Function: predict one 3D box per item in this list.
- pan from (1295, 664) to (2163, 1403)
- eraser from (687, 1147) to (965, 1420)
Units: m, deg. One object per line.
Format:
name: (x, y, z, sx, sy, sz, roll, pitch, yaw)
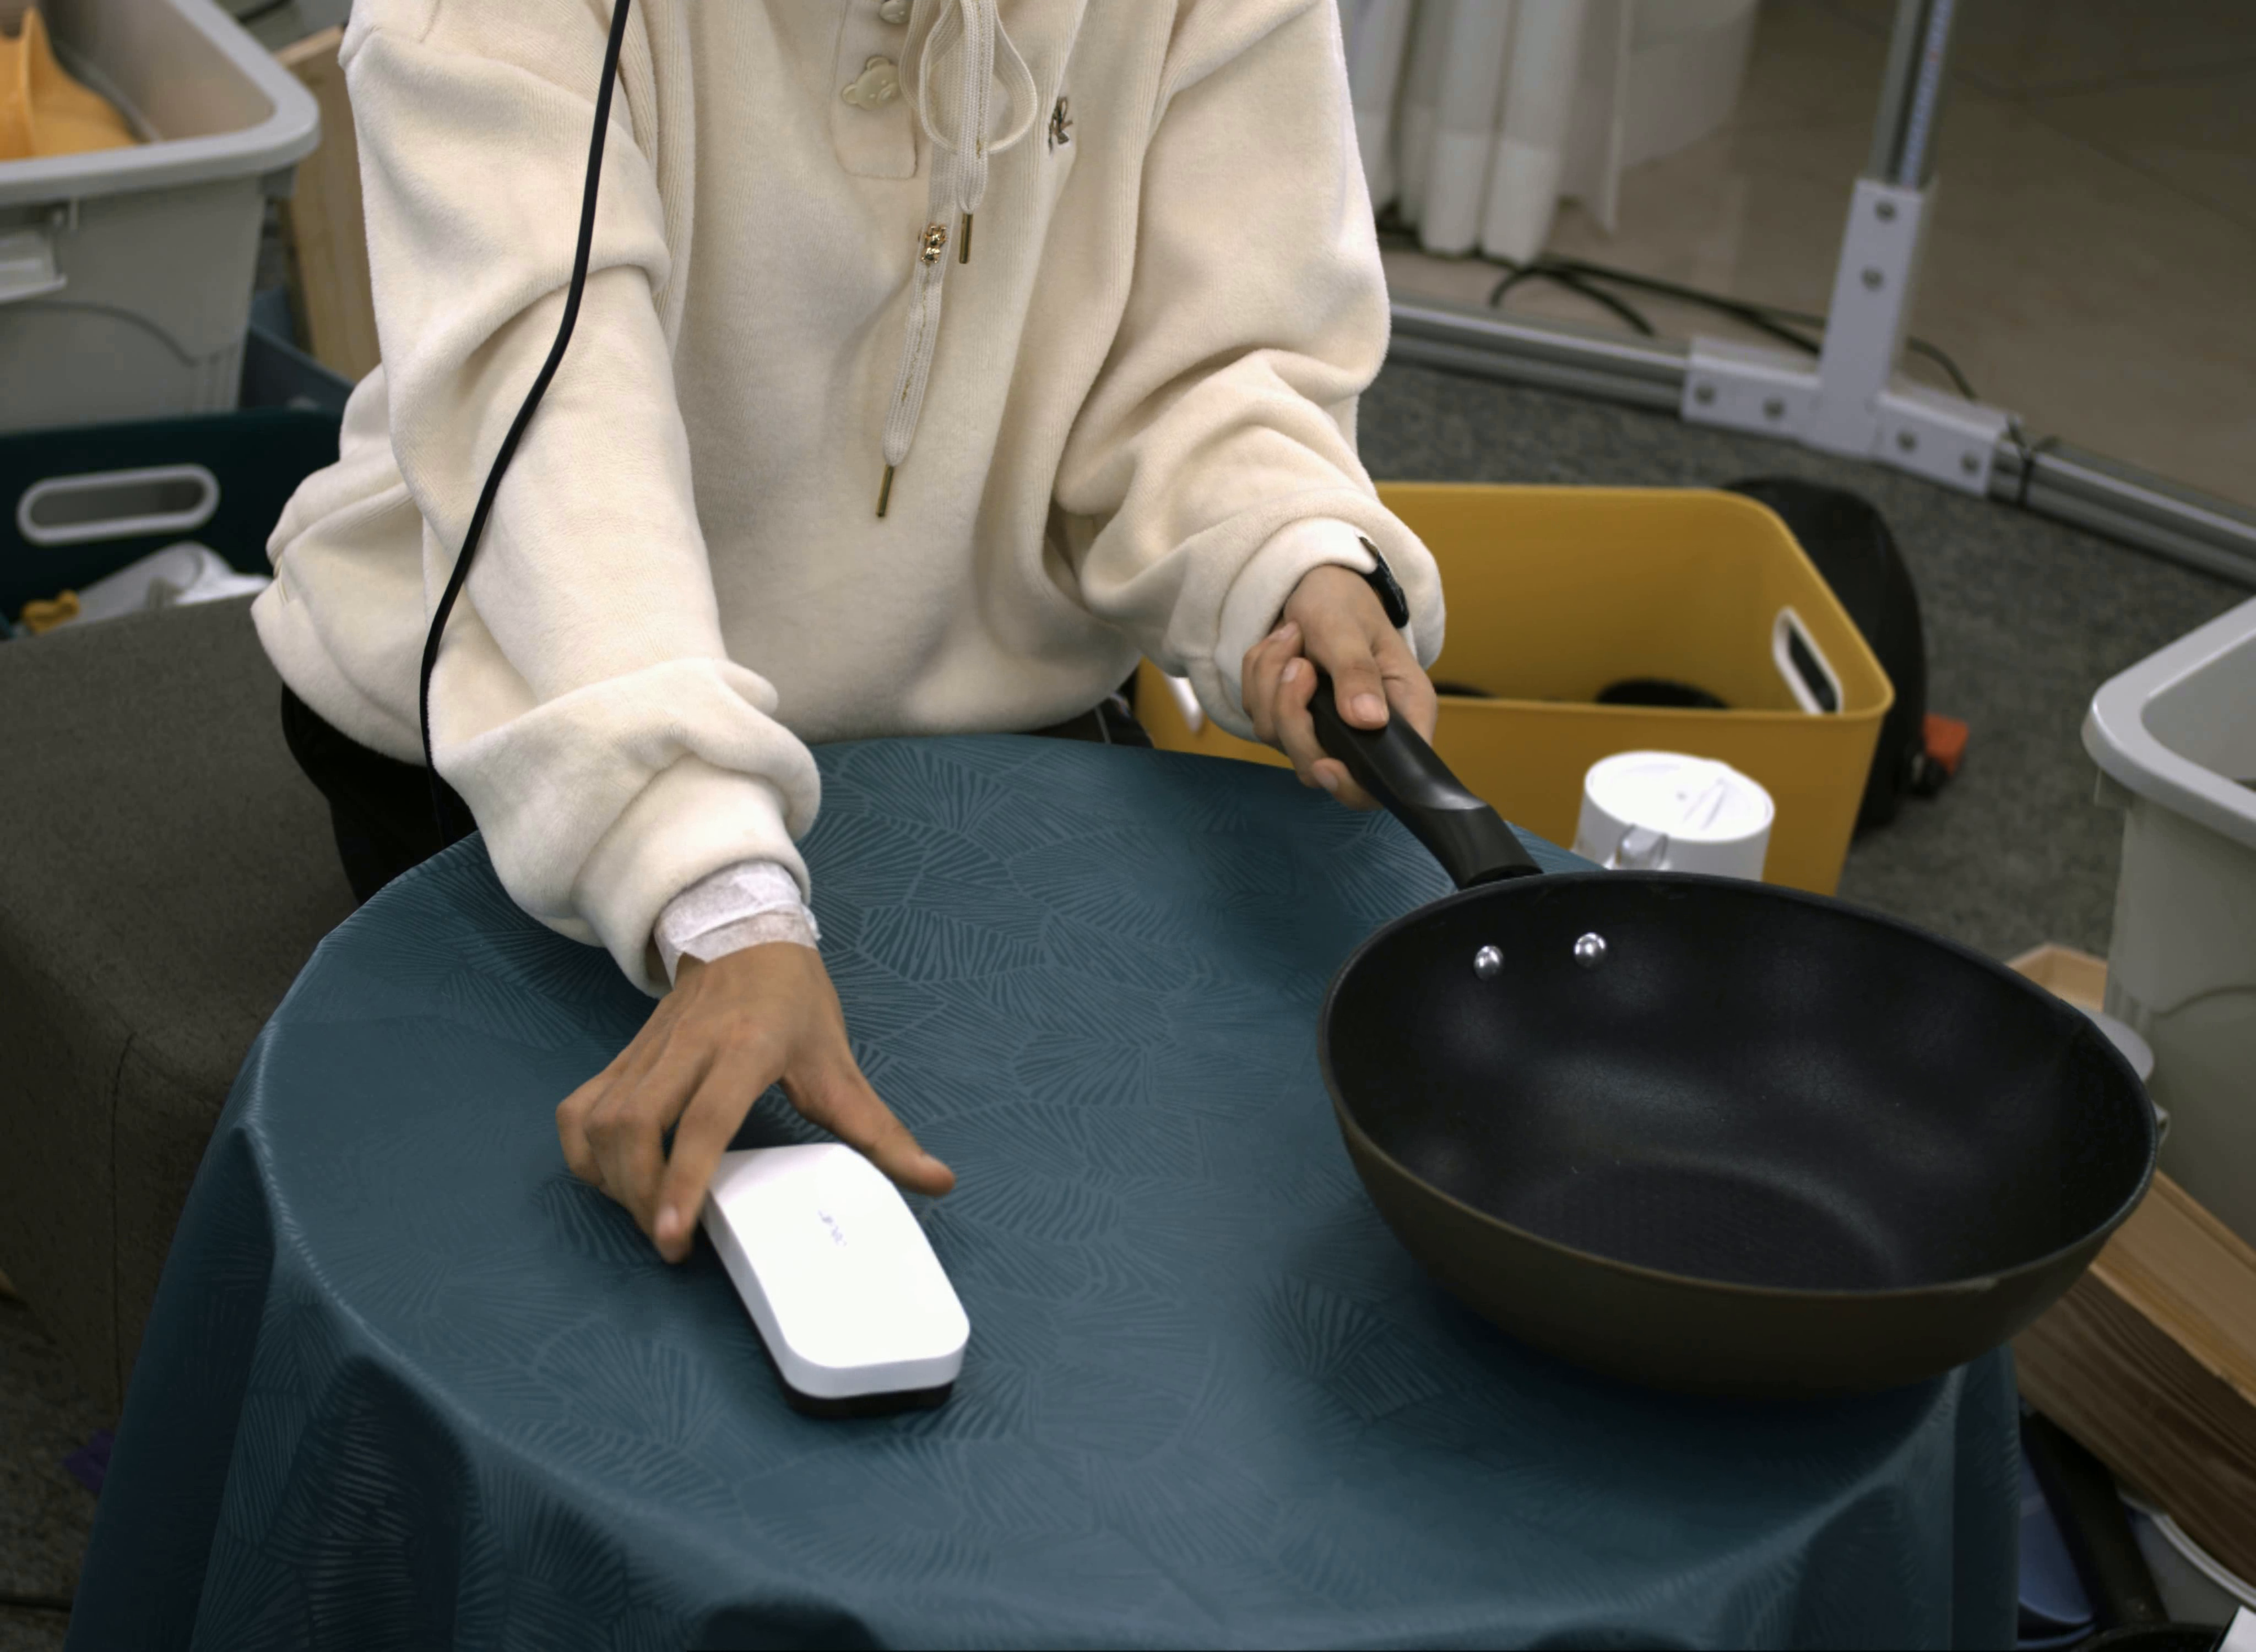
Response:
pan: (0.158, 0.074, 1.843, 0.286, 0.086, 0.467, -7, 29, -25)
eraser: (-0.097, 0.143, 1.709, 0.063, 0.034, 0.132, -1, 28, -22)
